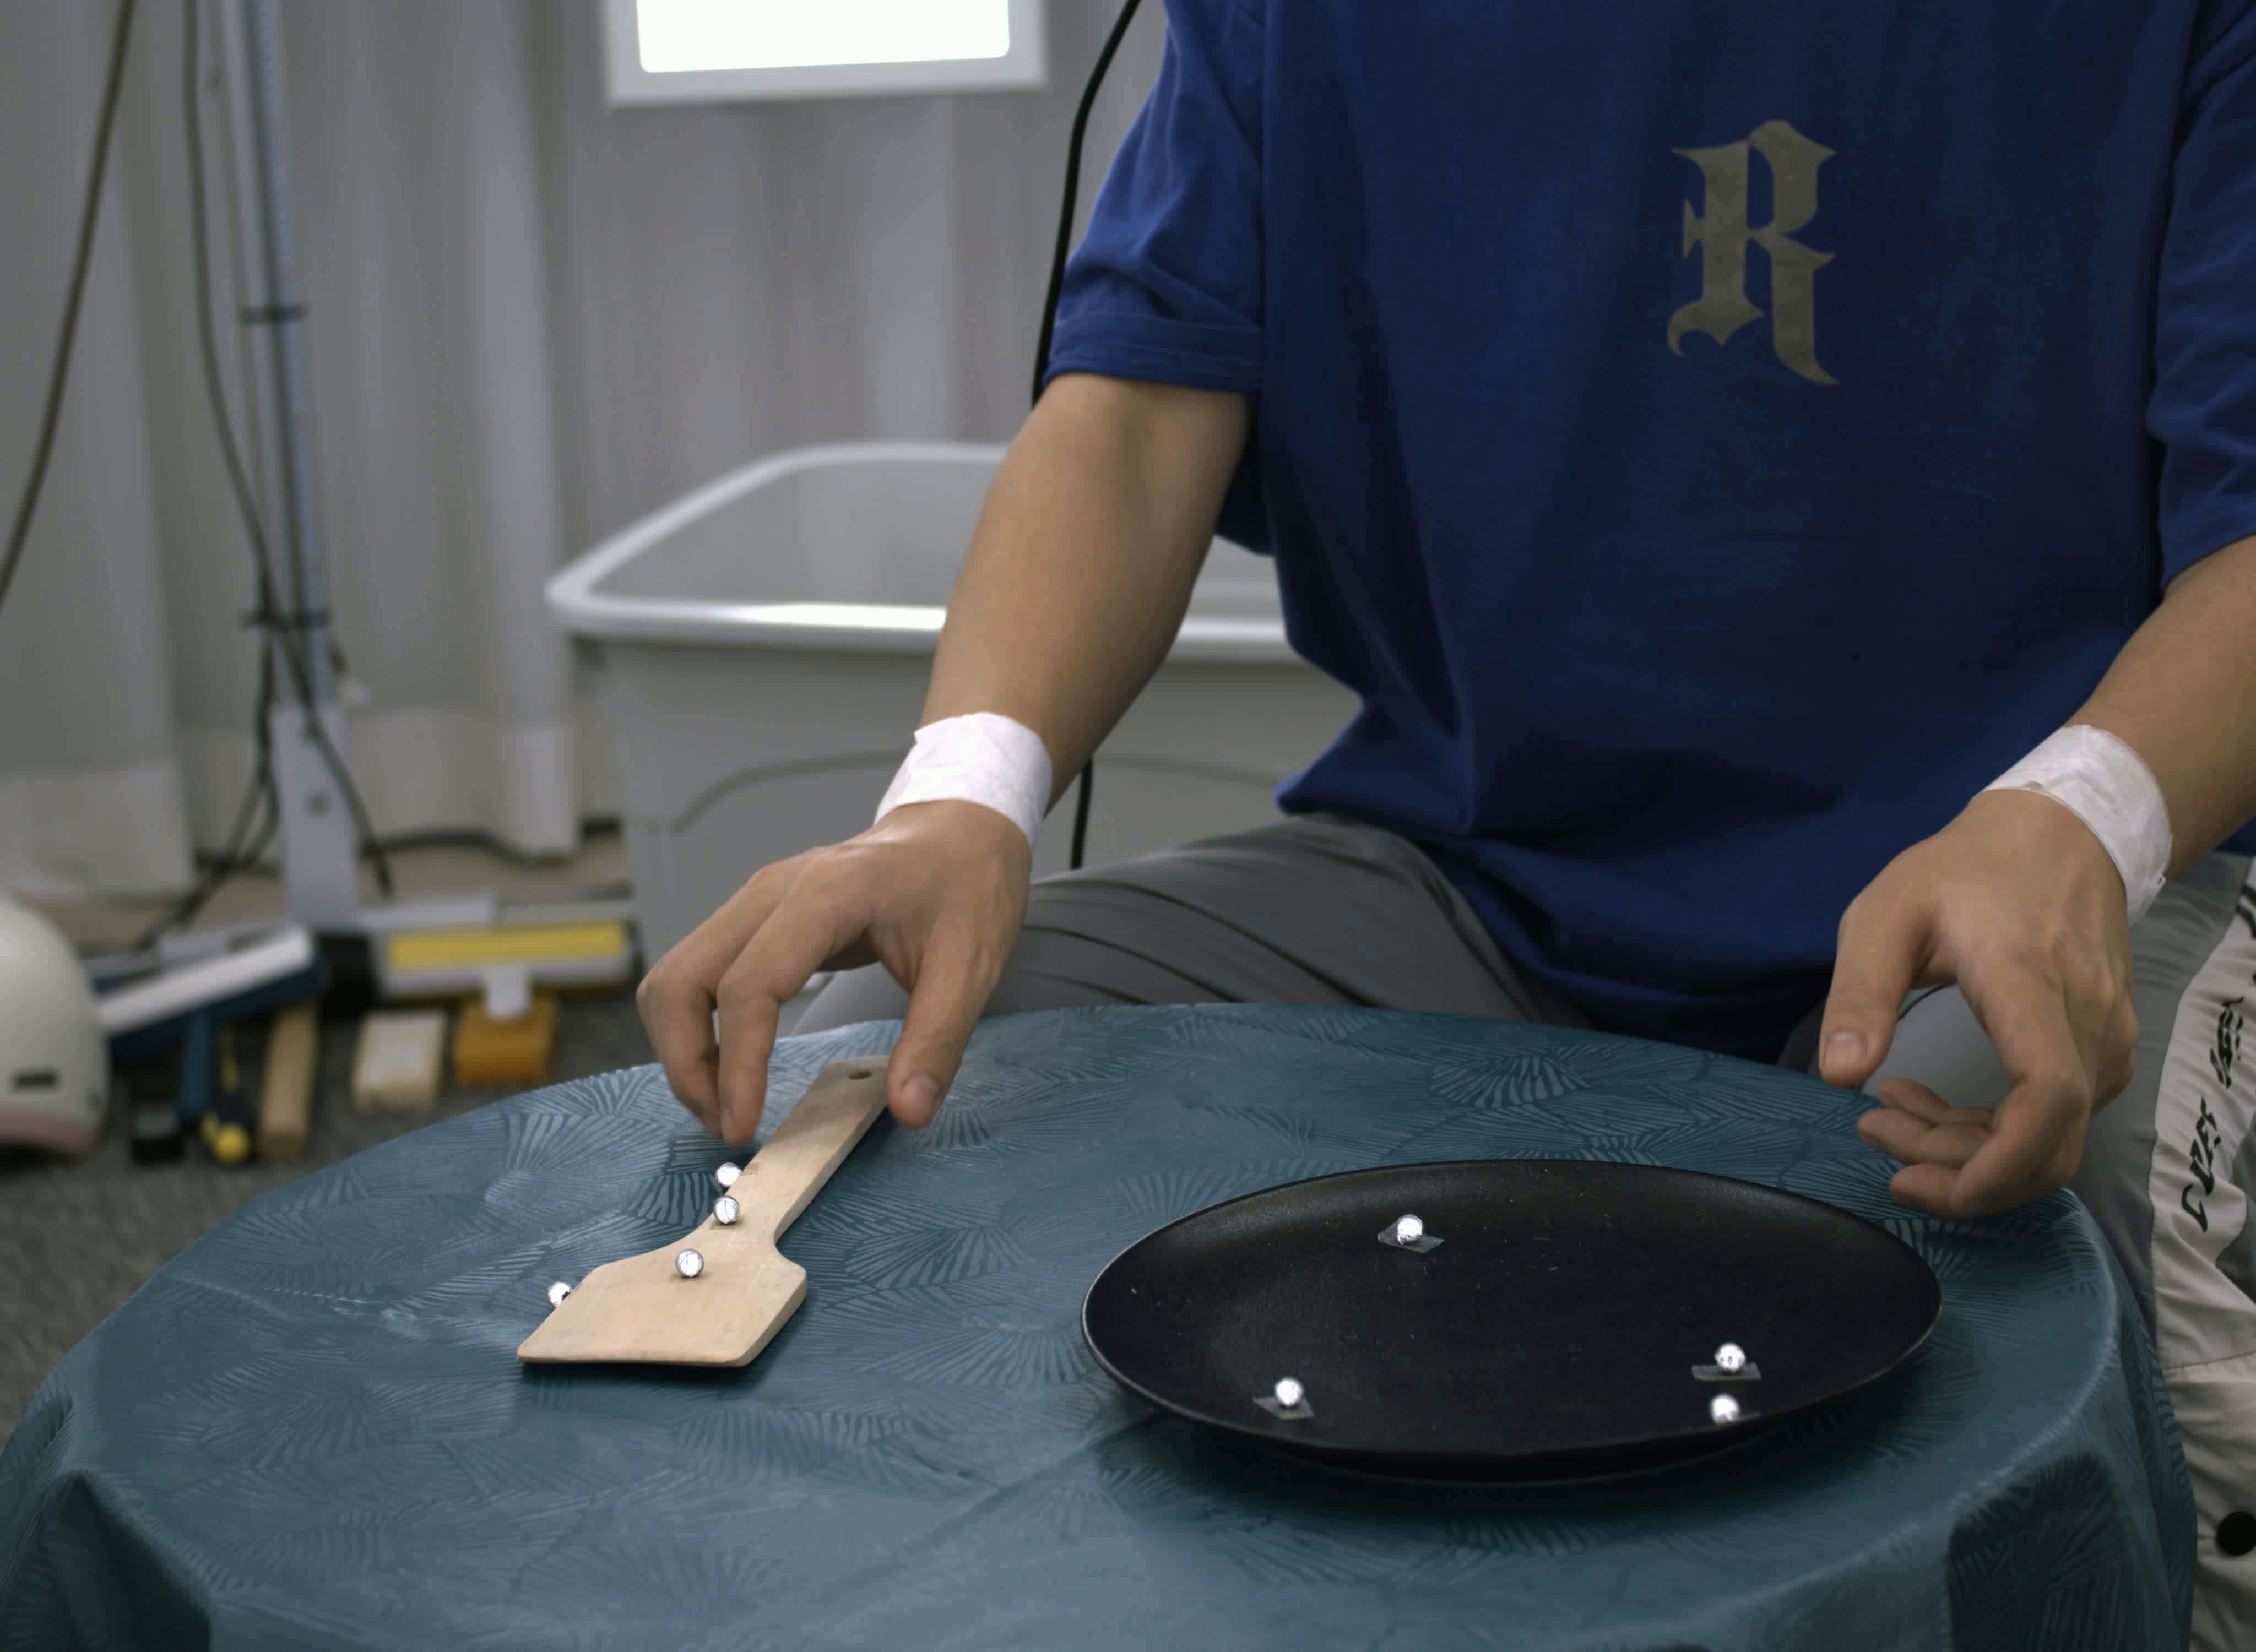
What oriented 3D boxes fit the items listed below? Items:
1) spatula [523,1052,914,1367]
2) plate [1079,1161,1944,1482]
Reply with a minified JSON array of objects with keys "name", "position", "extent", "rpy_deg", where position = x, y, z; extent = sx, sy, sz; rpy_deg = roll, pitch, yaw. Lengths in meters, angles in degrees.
[{"name":"spatula","position":[-0.114,0.117,1.704],"extent":[0.072,0.010,0.294],"rpy_deg":[-1,15,12]},{"name":"plate","position":[0.107,0.142,1.542],"extent":[0.243,0.023,0.246],"rpy_deg":[-3,15,0]}]
